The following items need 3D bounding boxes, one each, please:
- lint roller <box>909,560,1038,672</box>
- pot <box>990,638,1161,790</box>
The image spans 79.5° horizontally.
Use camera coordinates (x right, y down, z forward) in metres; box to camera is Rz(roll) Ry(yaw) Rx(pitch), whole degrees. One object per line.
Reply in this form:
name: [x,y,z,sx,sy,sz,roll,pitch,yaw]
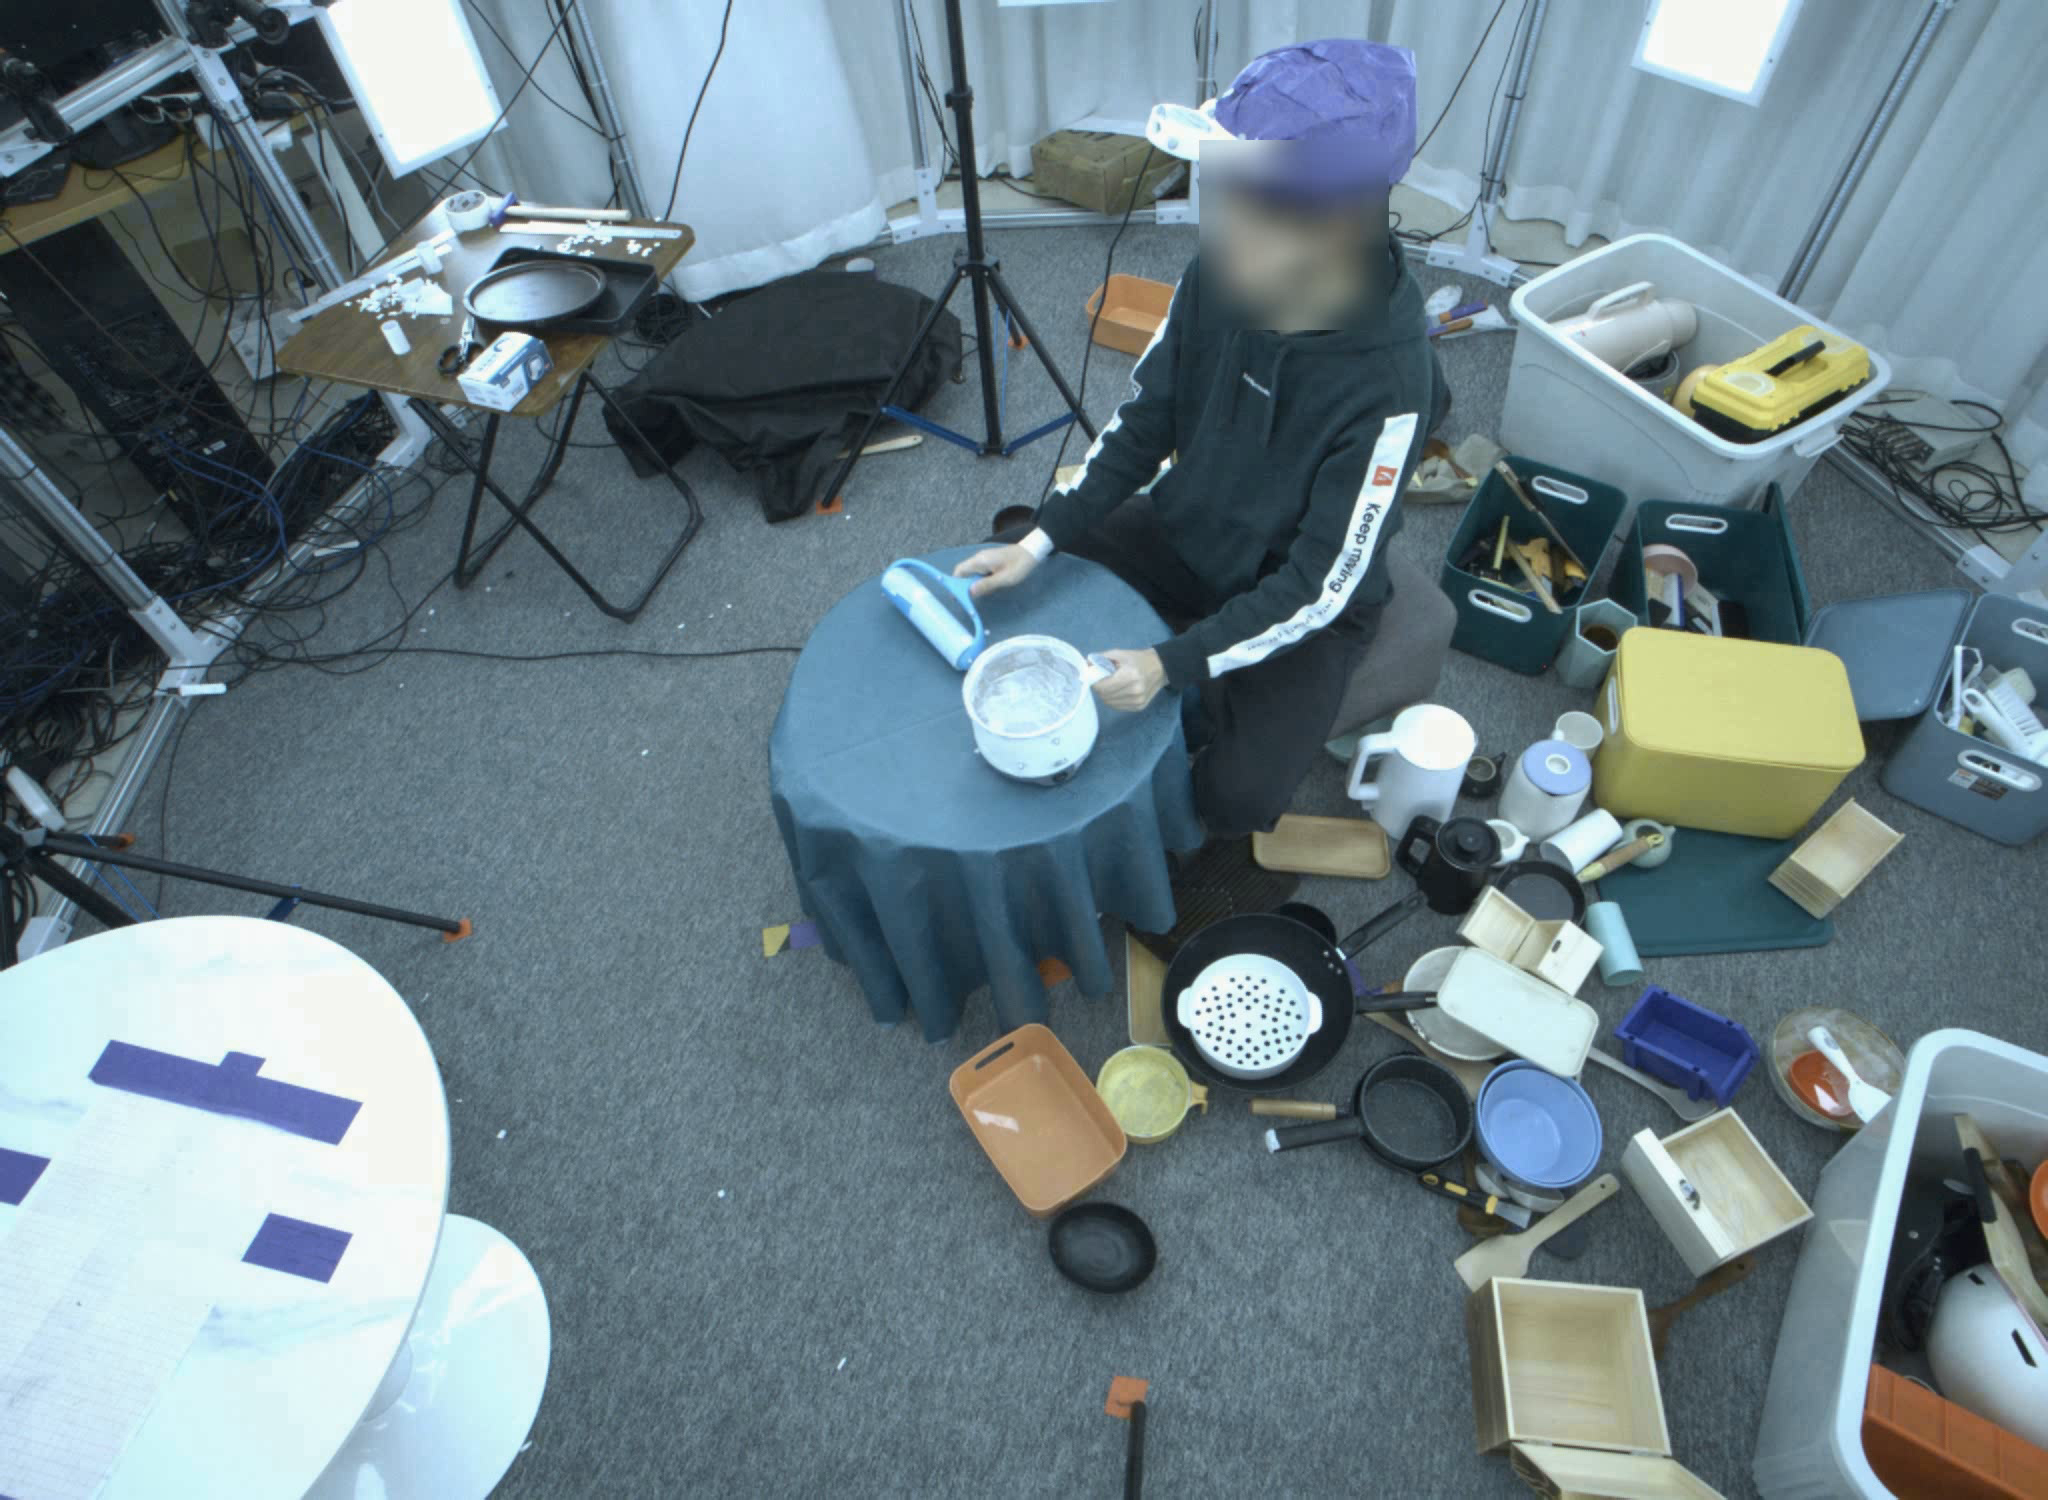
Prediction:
lint roller: [-0.054,-0.235,1.898,0.181,0.068,0.225,-38,66,-19]
pot: [0.078,-0.059,1.725,0.234,0.138,0.175,-23,56,-5]
